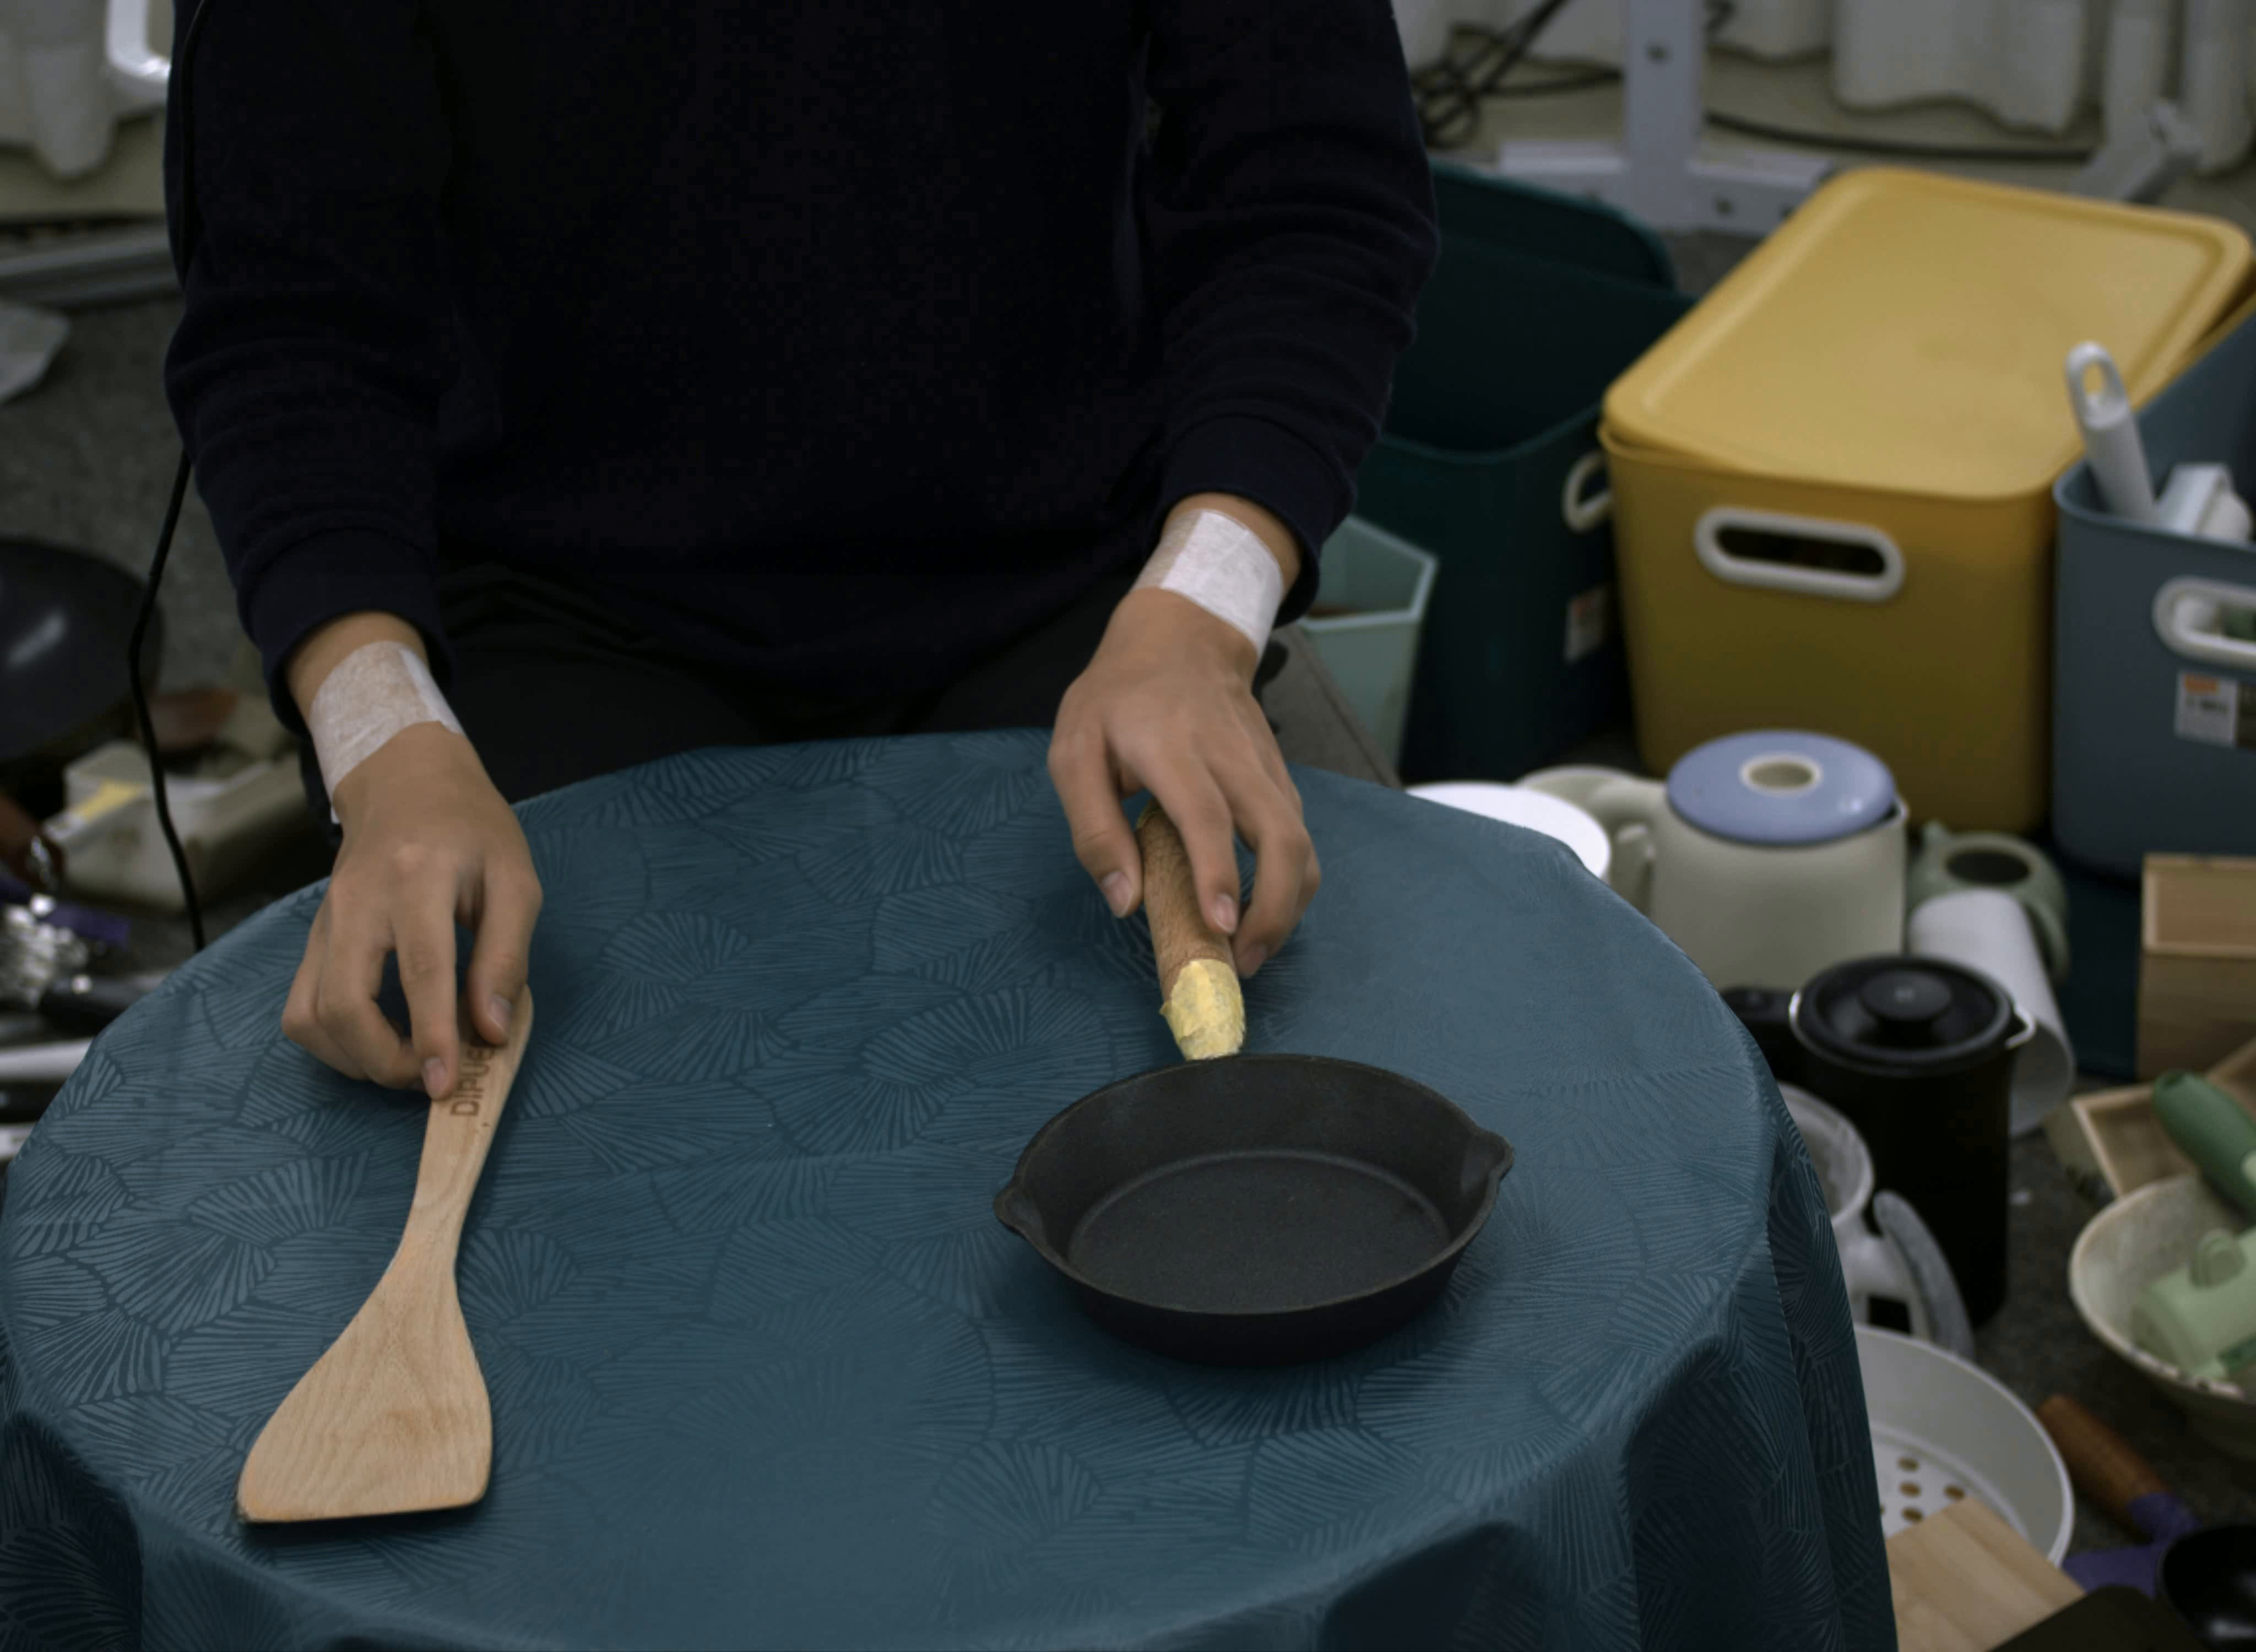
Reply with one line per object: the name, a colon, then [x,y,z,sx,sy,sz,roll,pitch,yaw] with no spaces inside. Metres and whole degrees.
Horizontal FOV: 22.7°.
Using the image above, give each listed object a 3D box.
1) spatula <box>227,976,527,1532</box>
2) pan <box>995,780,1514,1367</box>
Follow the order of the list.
spatula: [-0.228,0.135,1.836,0.079,0.016,0.333,1,30,2]
pan: [0.033,0.080,1.885,0.168,0.049,0.329,-5,29,-4]
